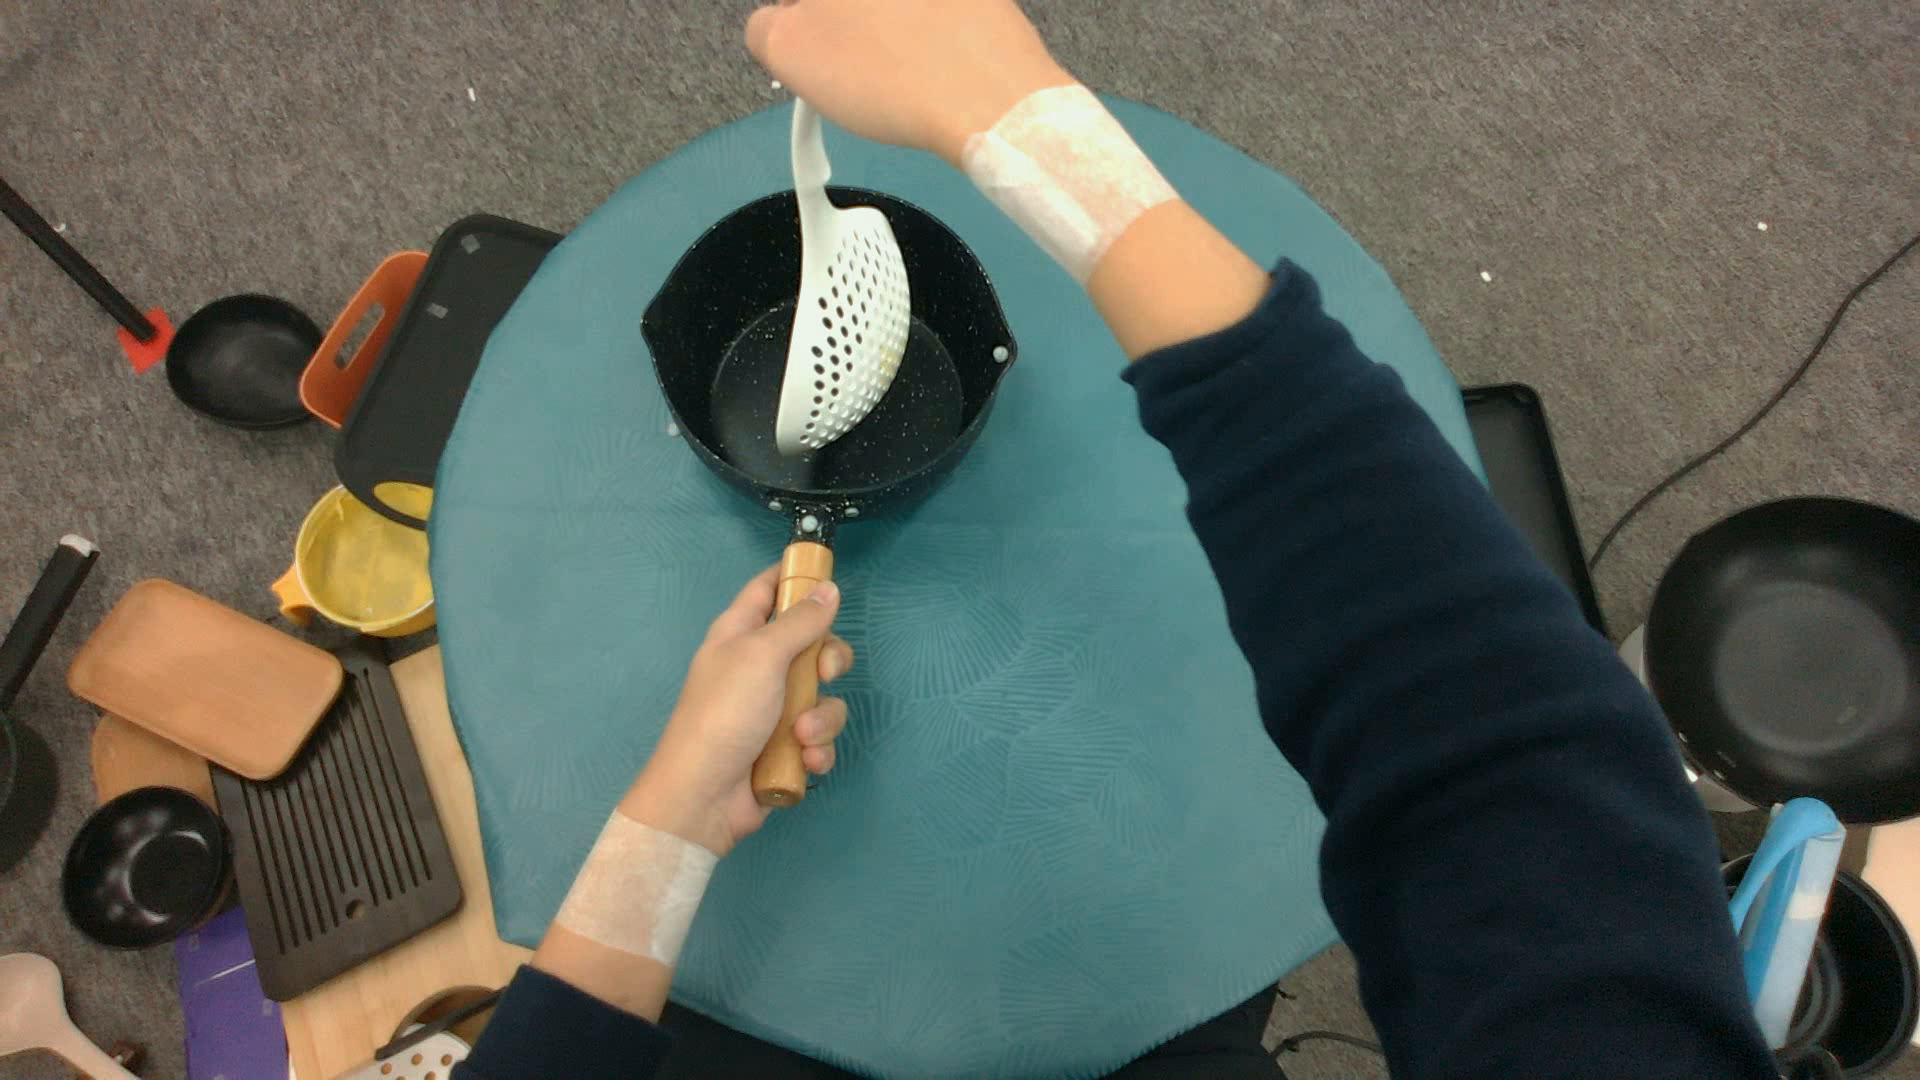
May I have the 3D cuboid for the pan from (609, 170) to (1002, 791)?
[{"bbox_3d":[-0.085,-0.031,0.723,0.207,0.108,0.344,3,68,-3],"label":"pan"}]

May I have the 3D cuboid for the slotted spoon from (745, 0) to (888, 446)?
[{"bbox_3d":[-0.064,-0.144,0.629,0.050,0.347,0.137,23,72,8],"label":"slotted spoon"}]
